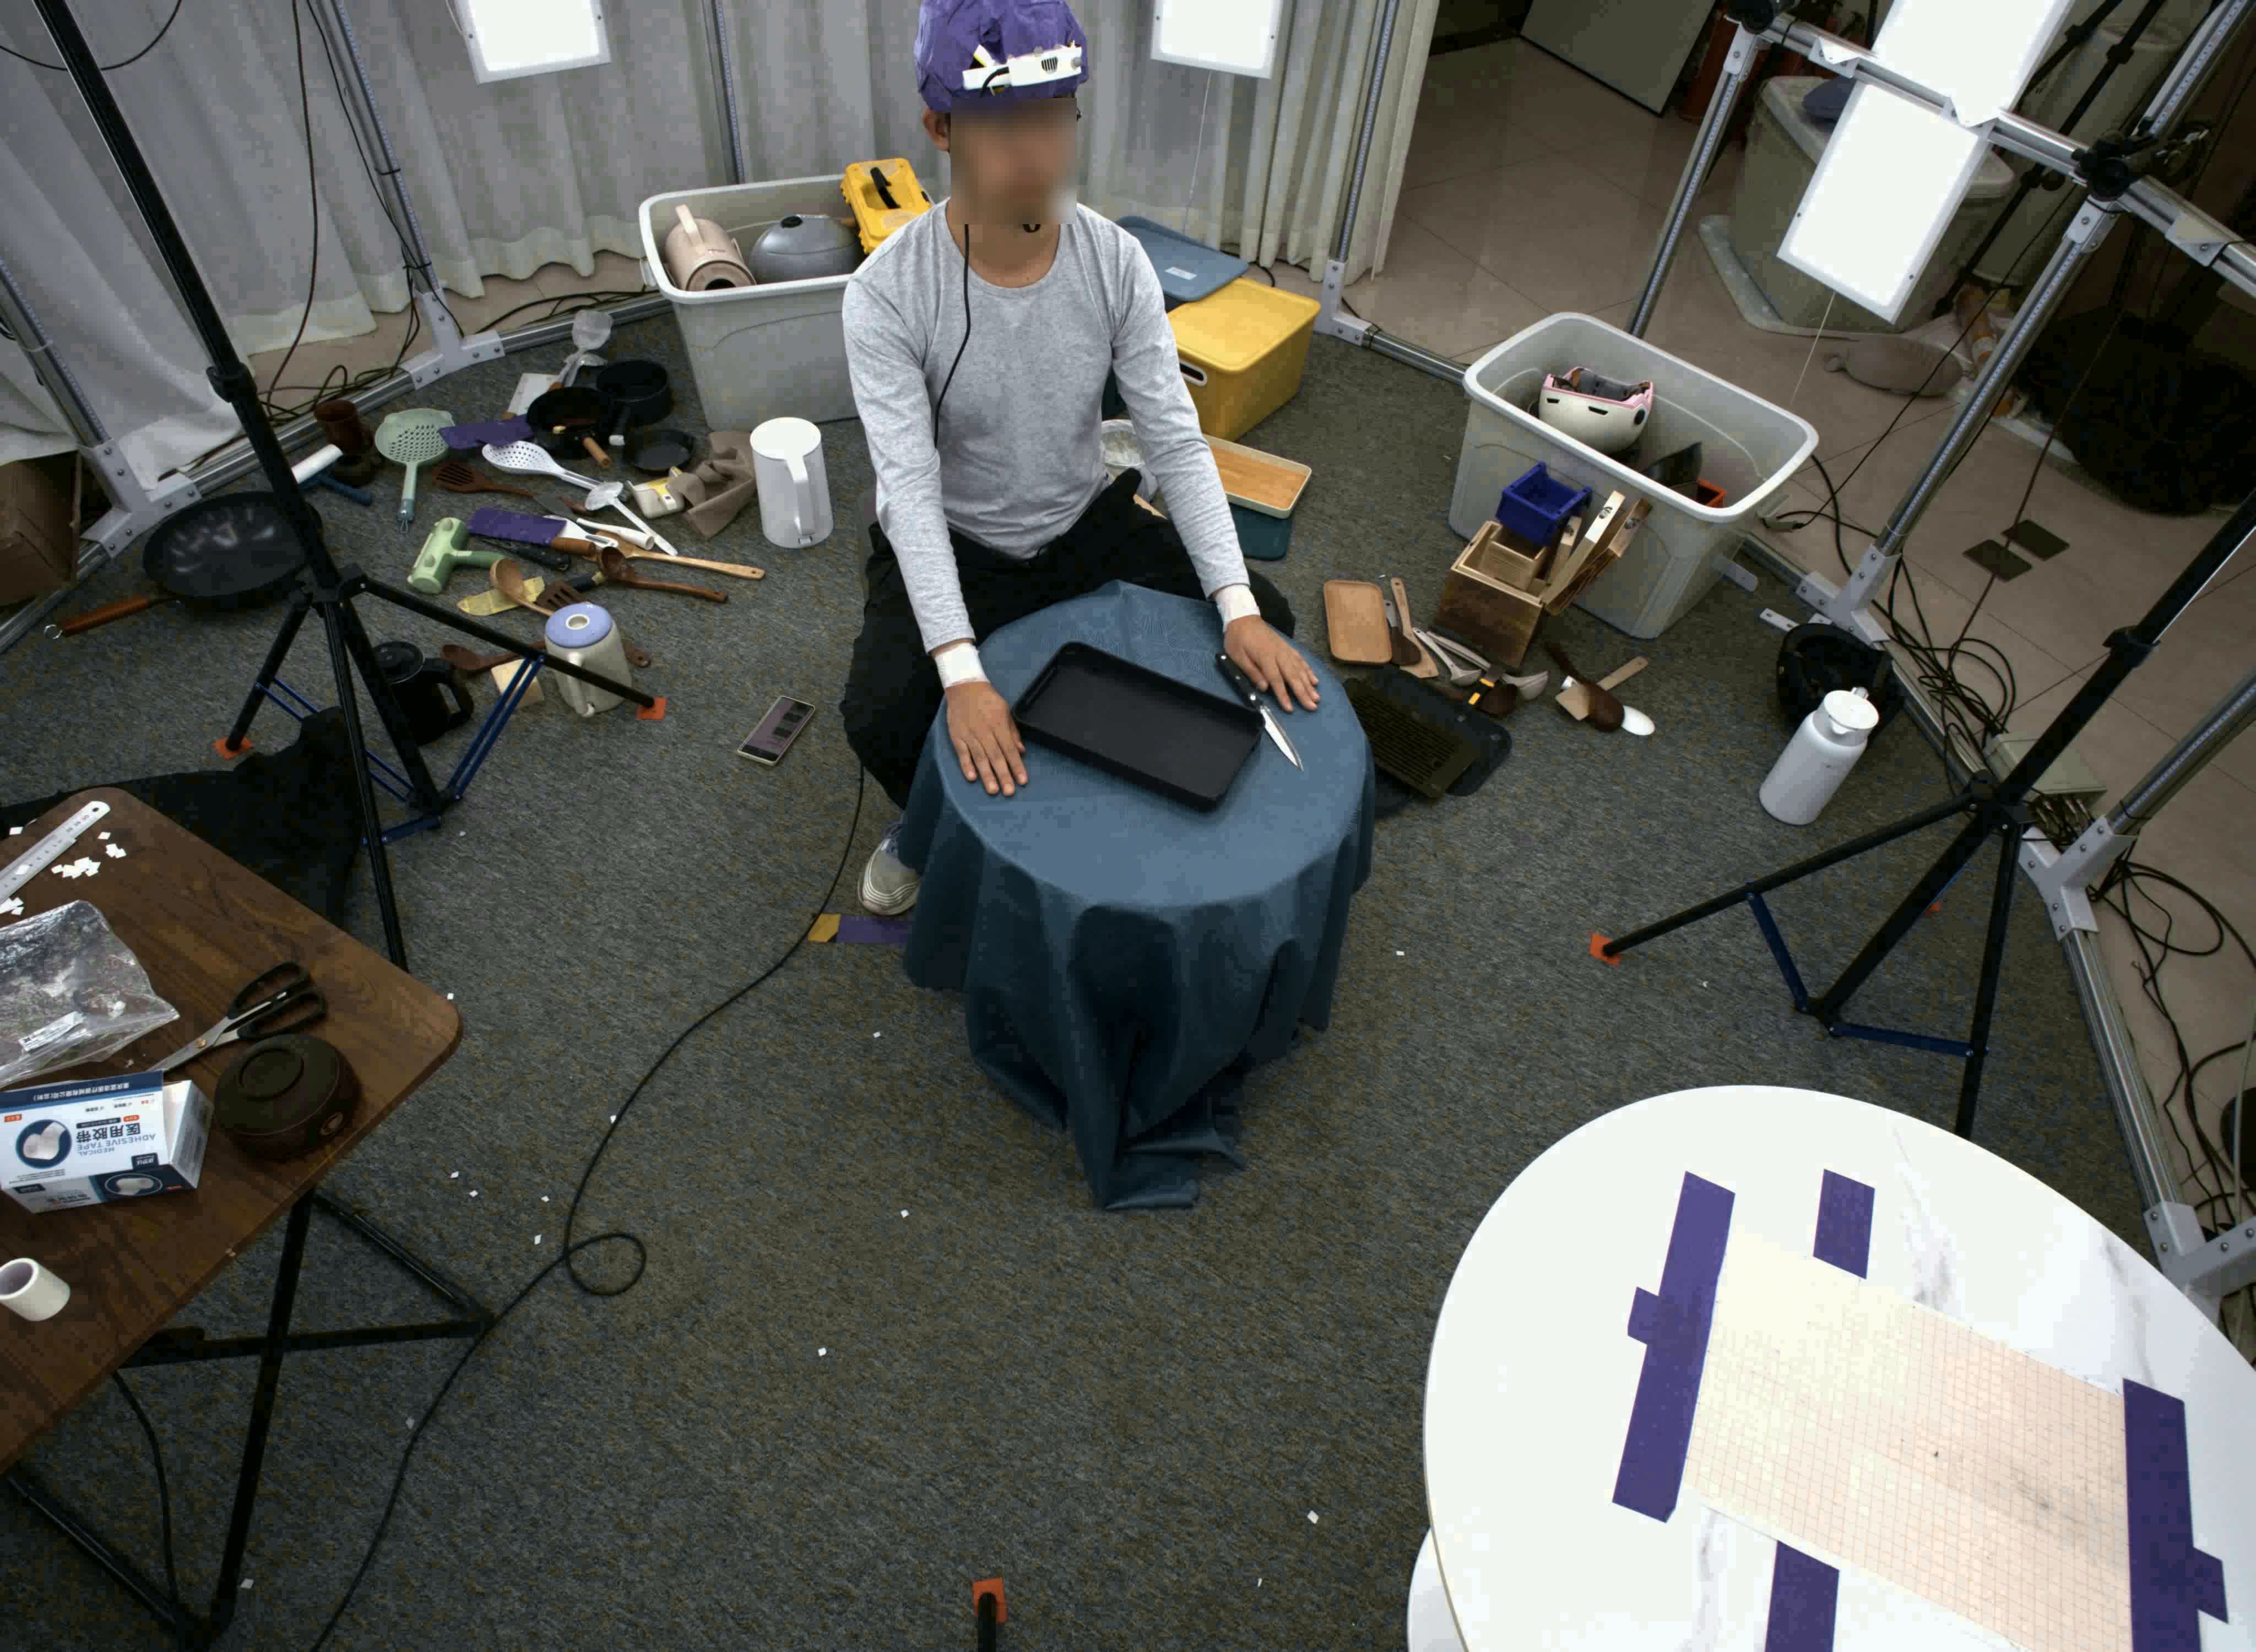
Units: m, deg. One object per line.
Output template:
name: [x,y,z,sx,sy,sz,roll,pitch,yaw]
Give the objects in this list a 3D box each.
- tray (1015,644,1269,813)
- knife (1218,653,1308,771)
tray: [0.019,-0.138,1.766,0.320,0.036,0.187,21,51,15]
knife: [0.188,-0.162,1.813,0.024,0.016,0.243,-18,55,-20]
